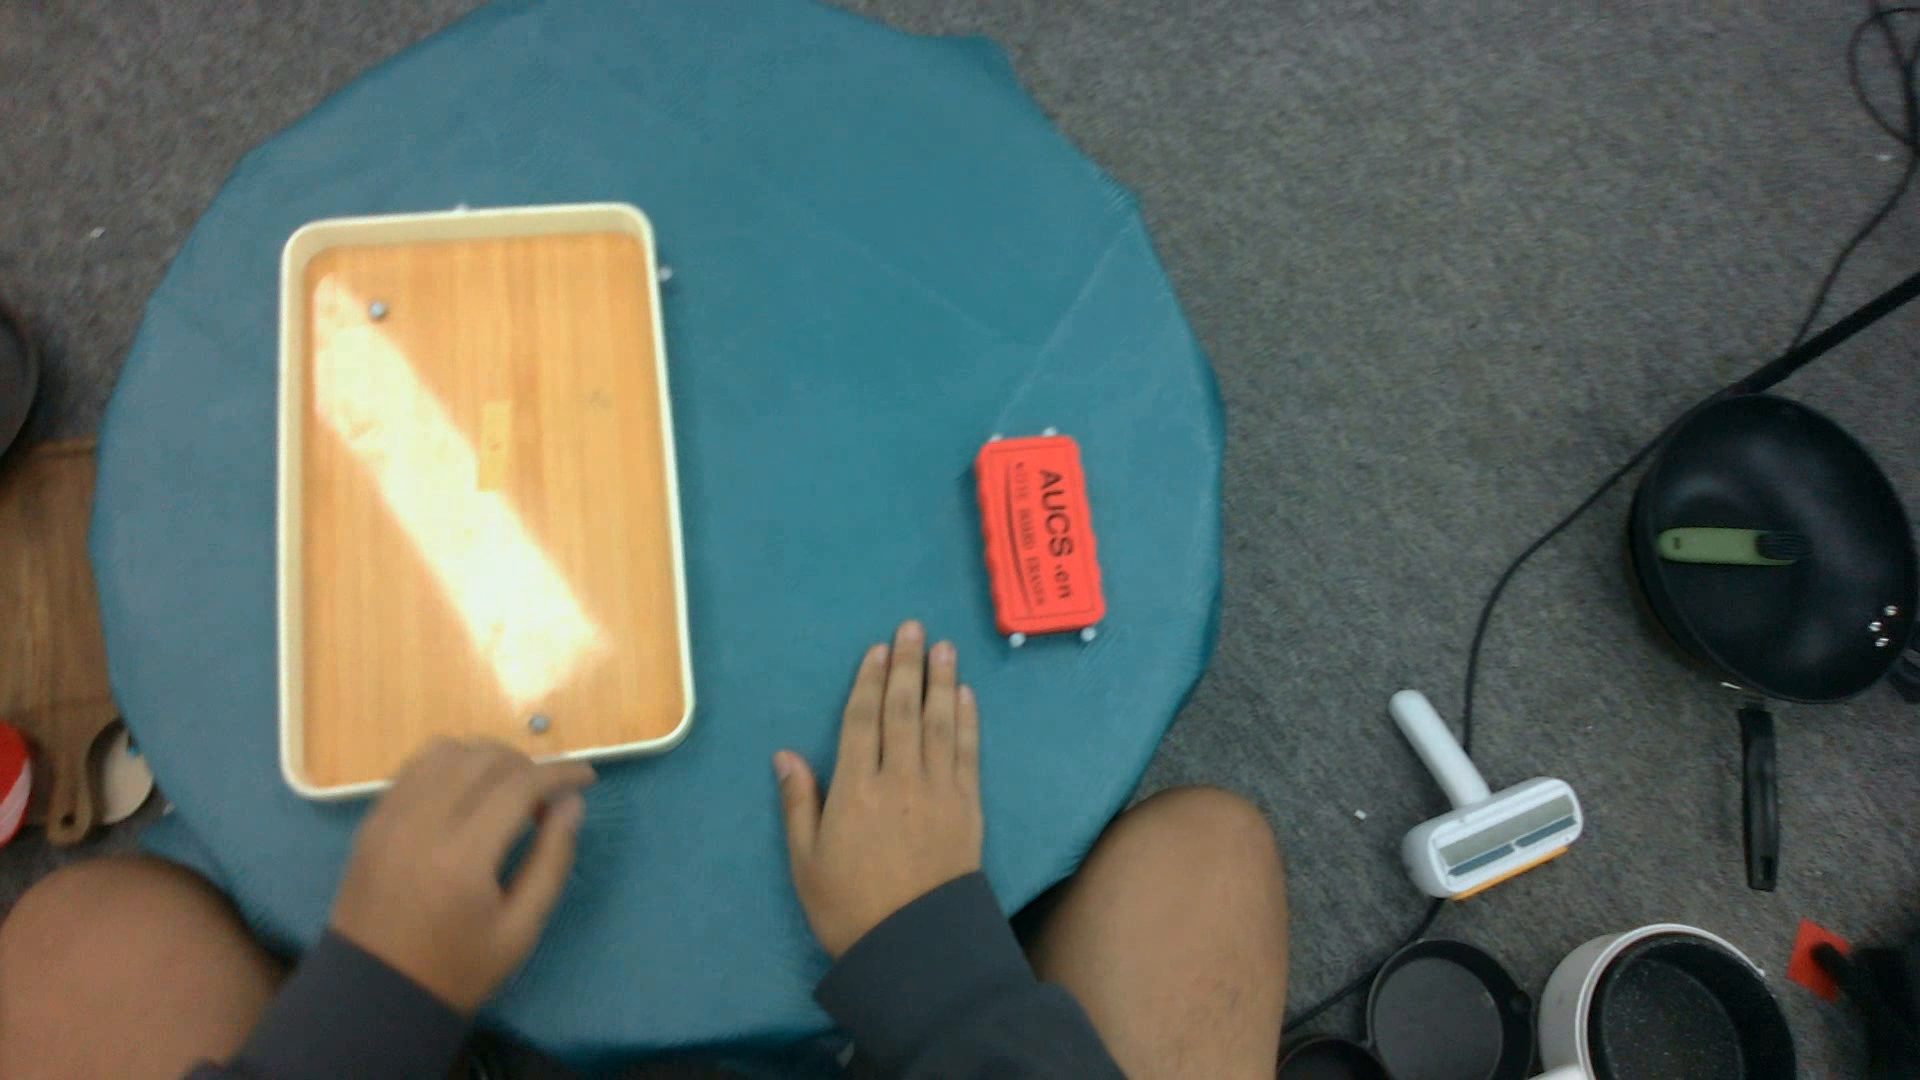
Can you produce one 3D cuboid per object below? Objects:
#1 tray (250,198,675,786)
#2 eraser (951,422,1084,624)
[{"bbox_3d":[-0.258,-0.035,0.712,0.192,0.027,0.301,-7,73,-11],"label":"tray"},{"bbox_3d":[0.031,-0.010,0.753,0.059,0.023,0.108,-6,72,-12],"label":"eraser"}]
